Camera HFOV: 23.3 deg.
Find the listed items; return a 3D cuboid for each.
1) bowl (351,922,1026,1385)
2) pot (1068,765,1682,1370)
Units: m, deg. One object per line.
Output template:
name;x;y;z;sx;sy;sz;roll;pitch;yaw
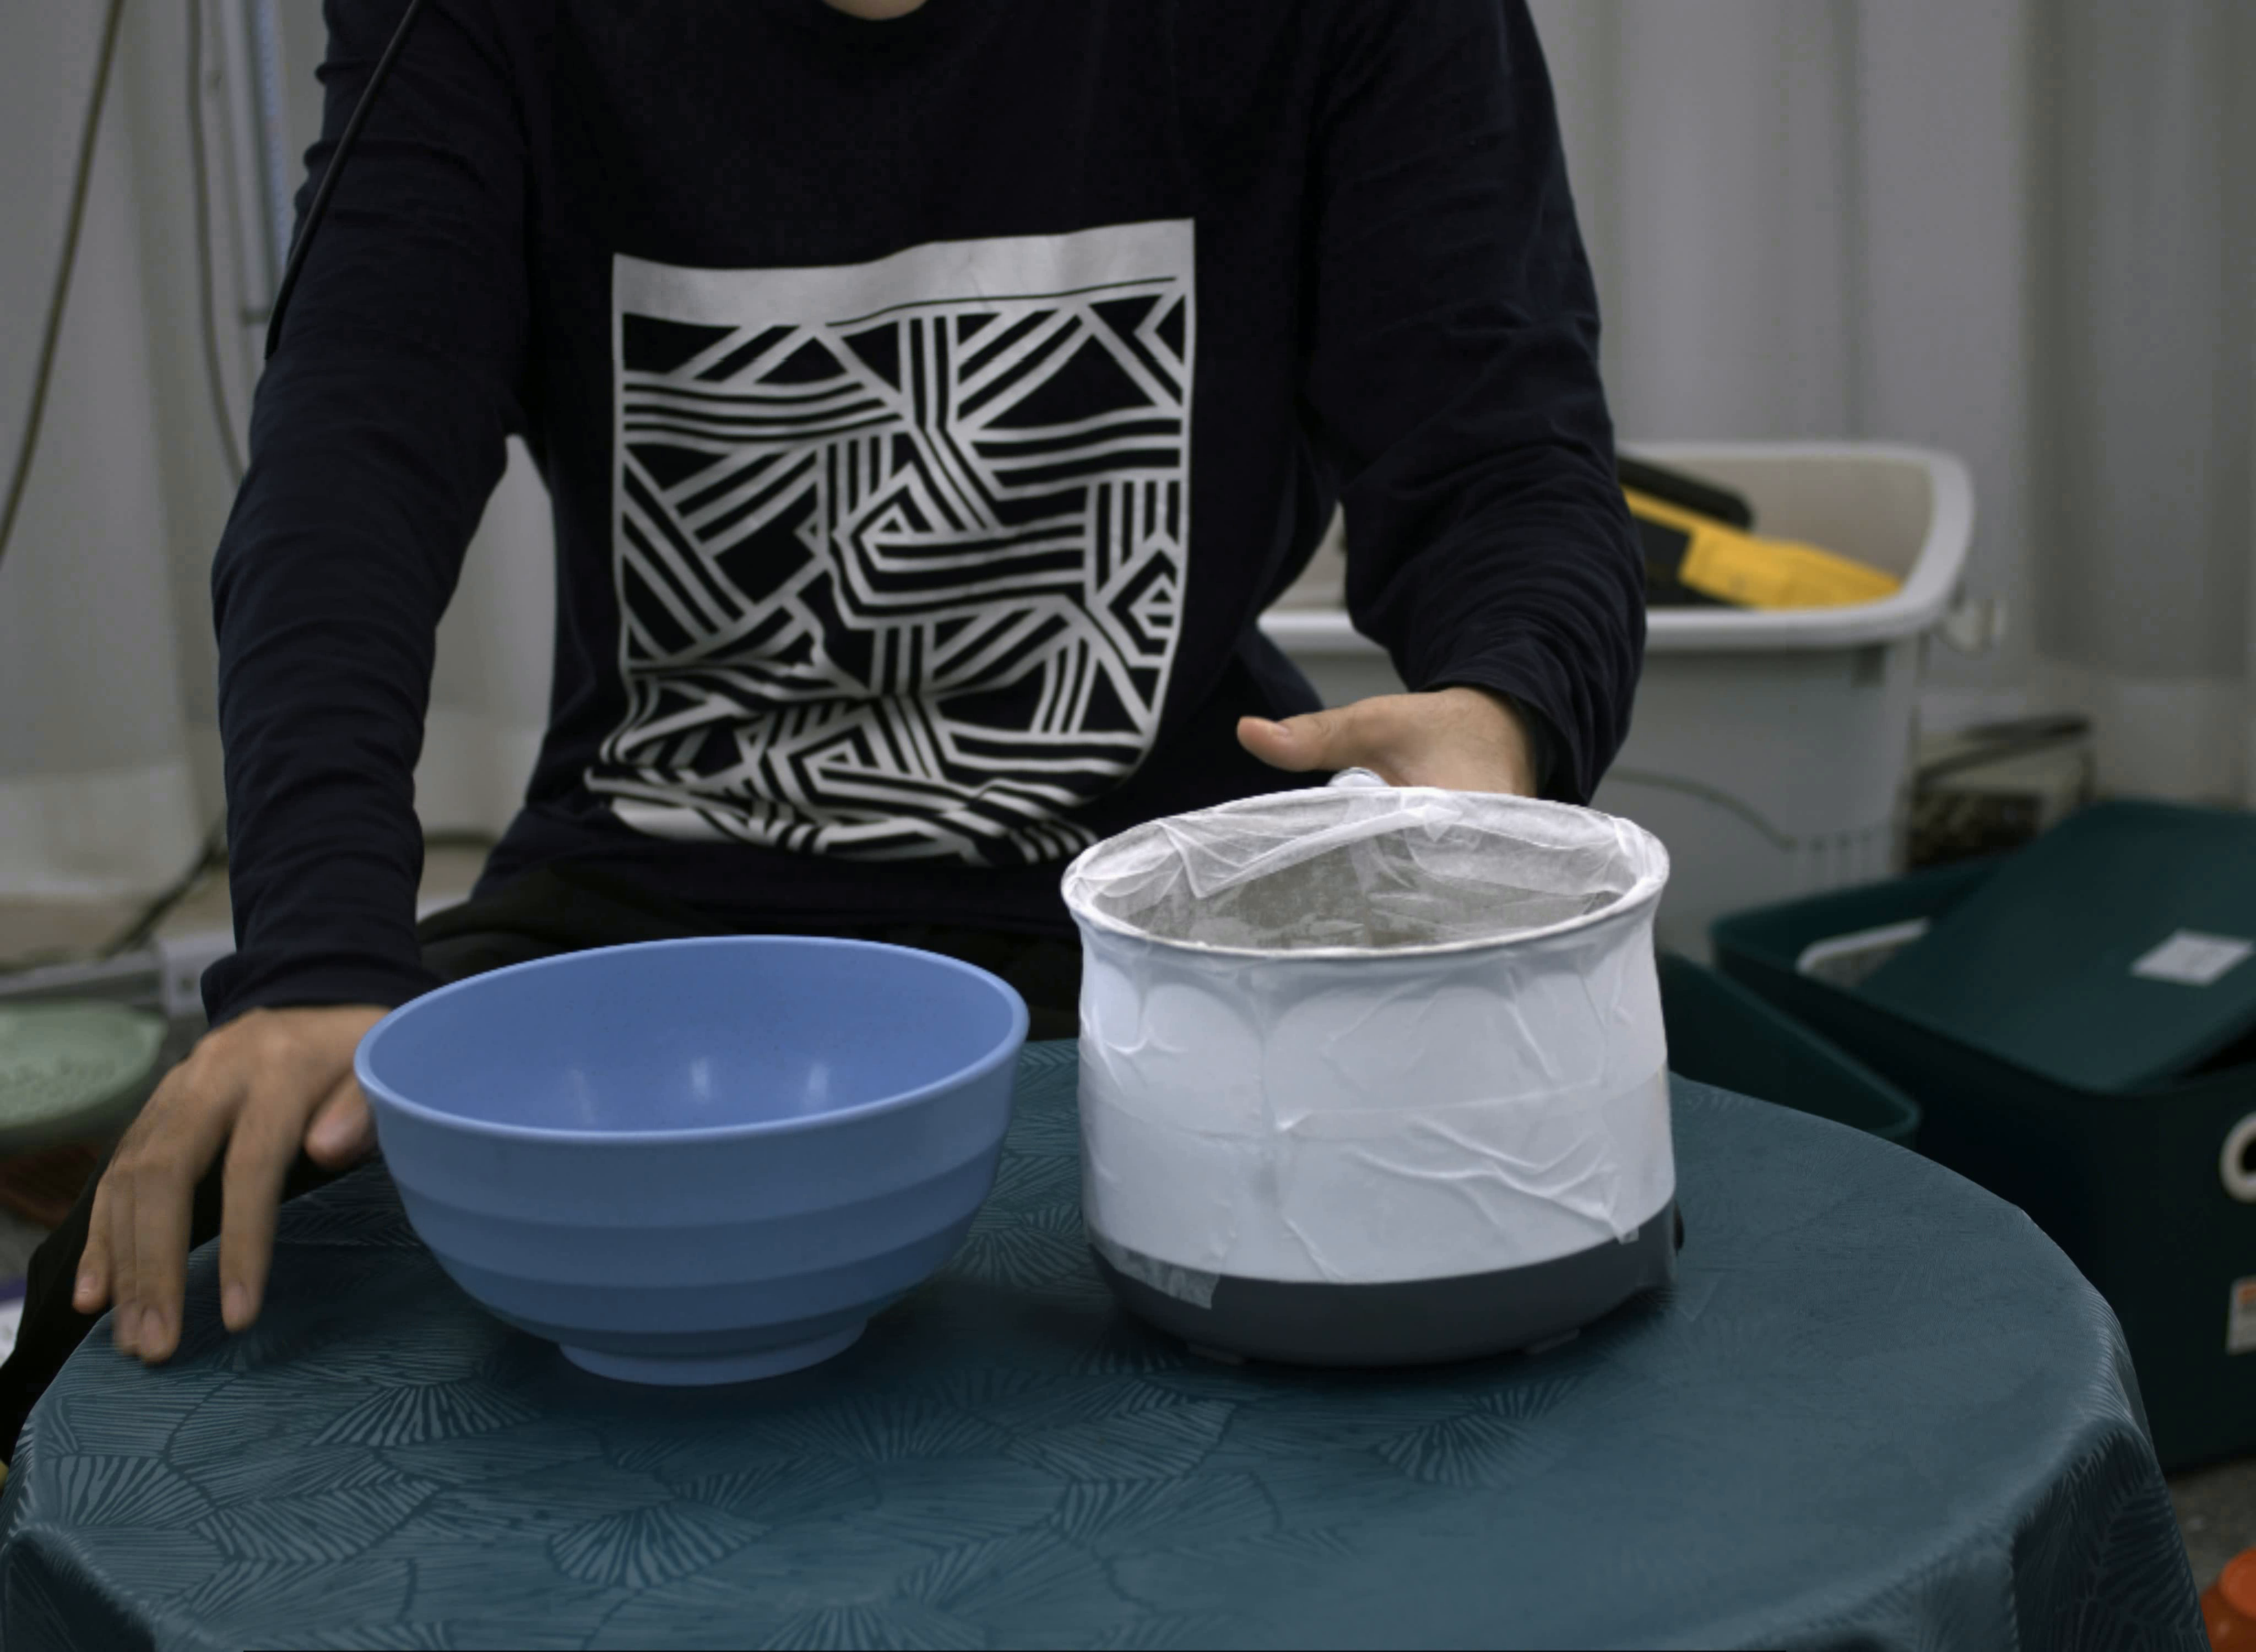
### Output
bowl;-0.124;0.102;1.598;0.196;0.095;0.198;-4;17;1
pot;0.072;0.066;1.623;0.178;0.136;0.235;0;15;0
